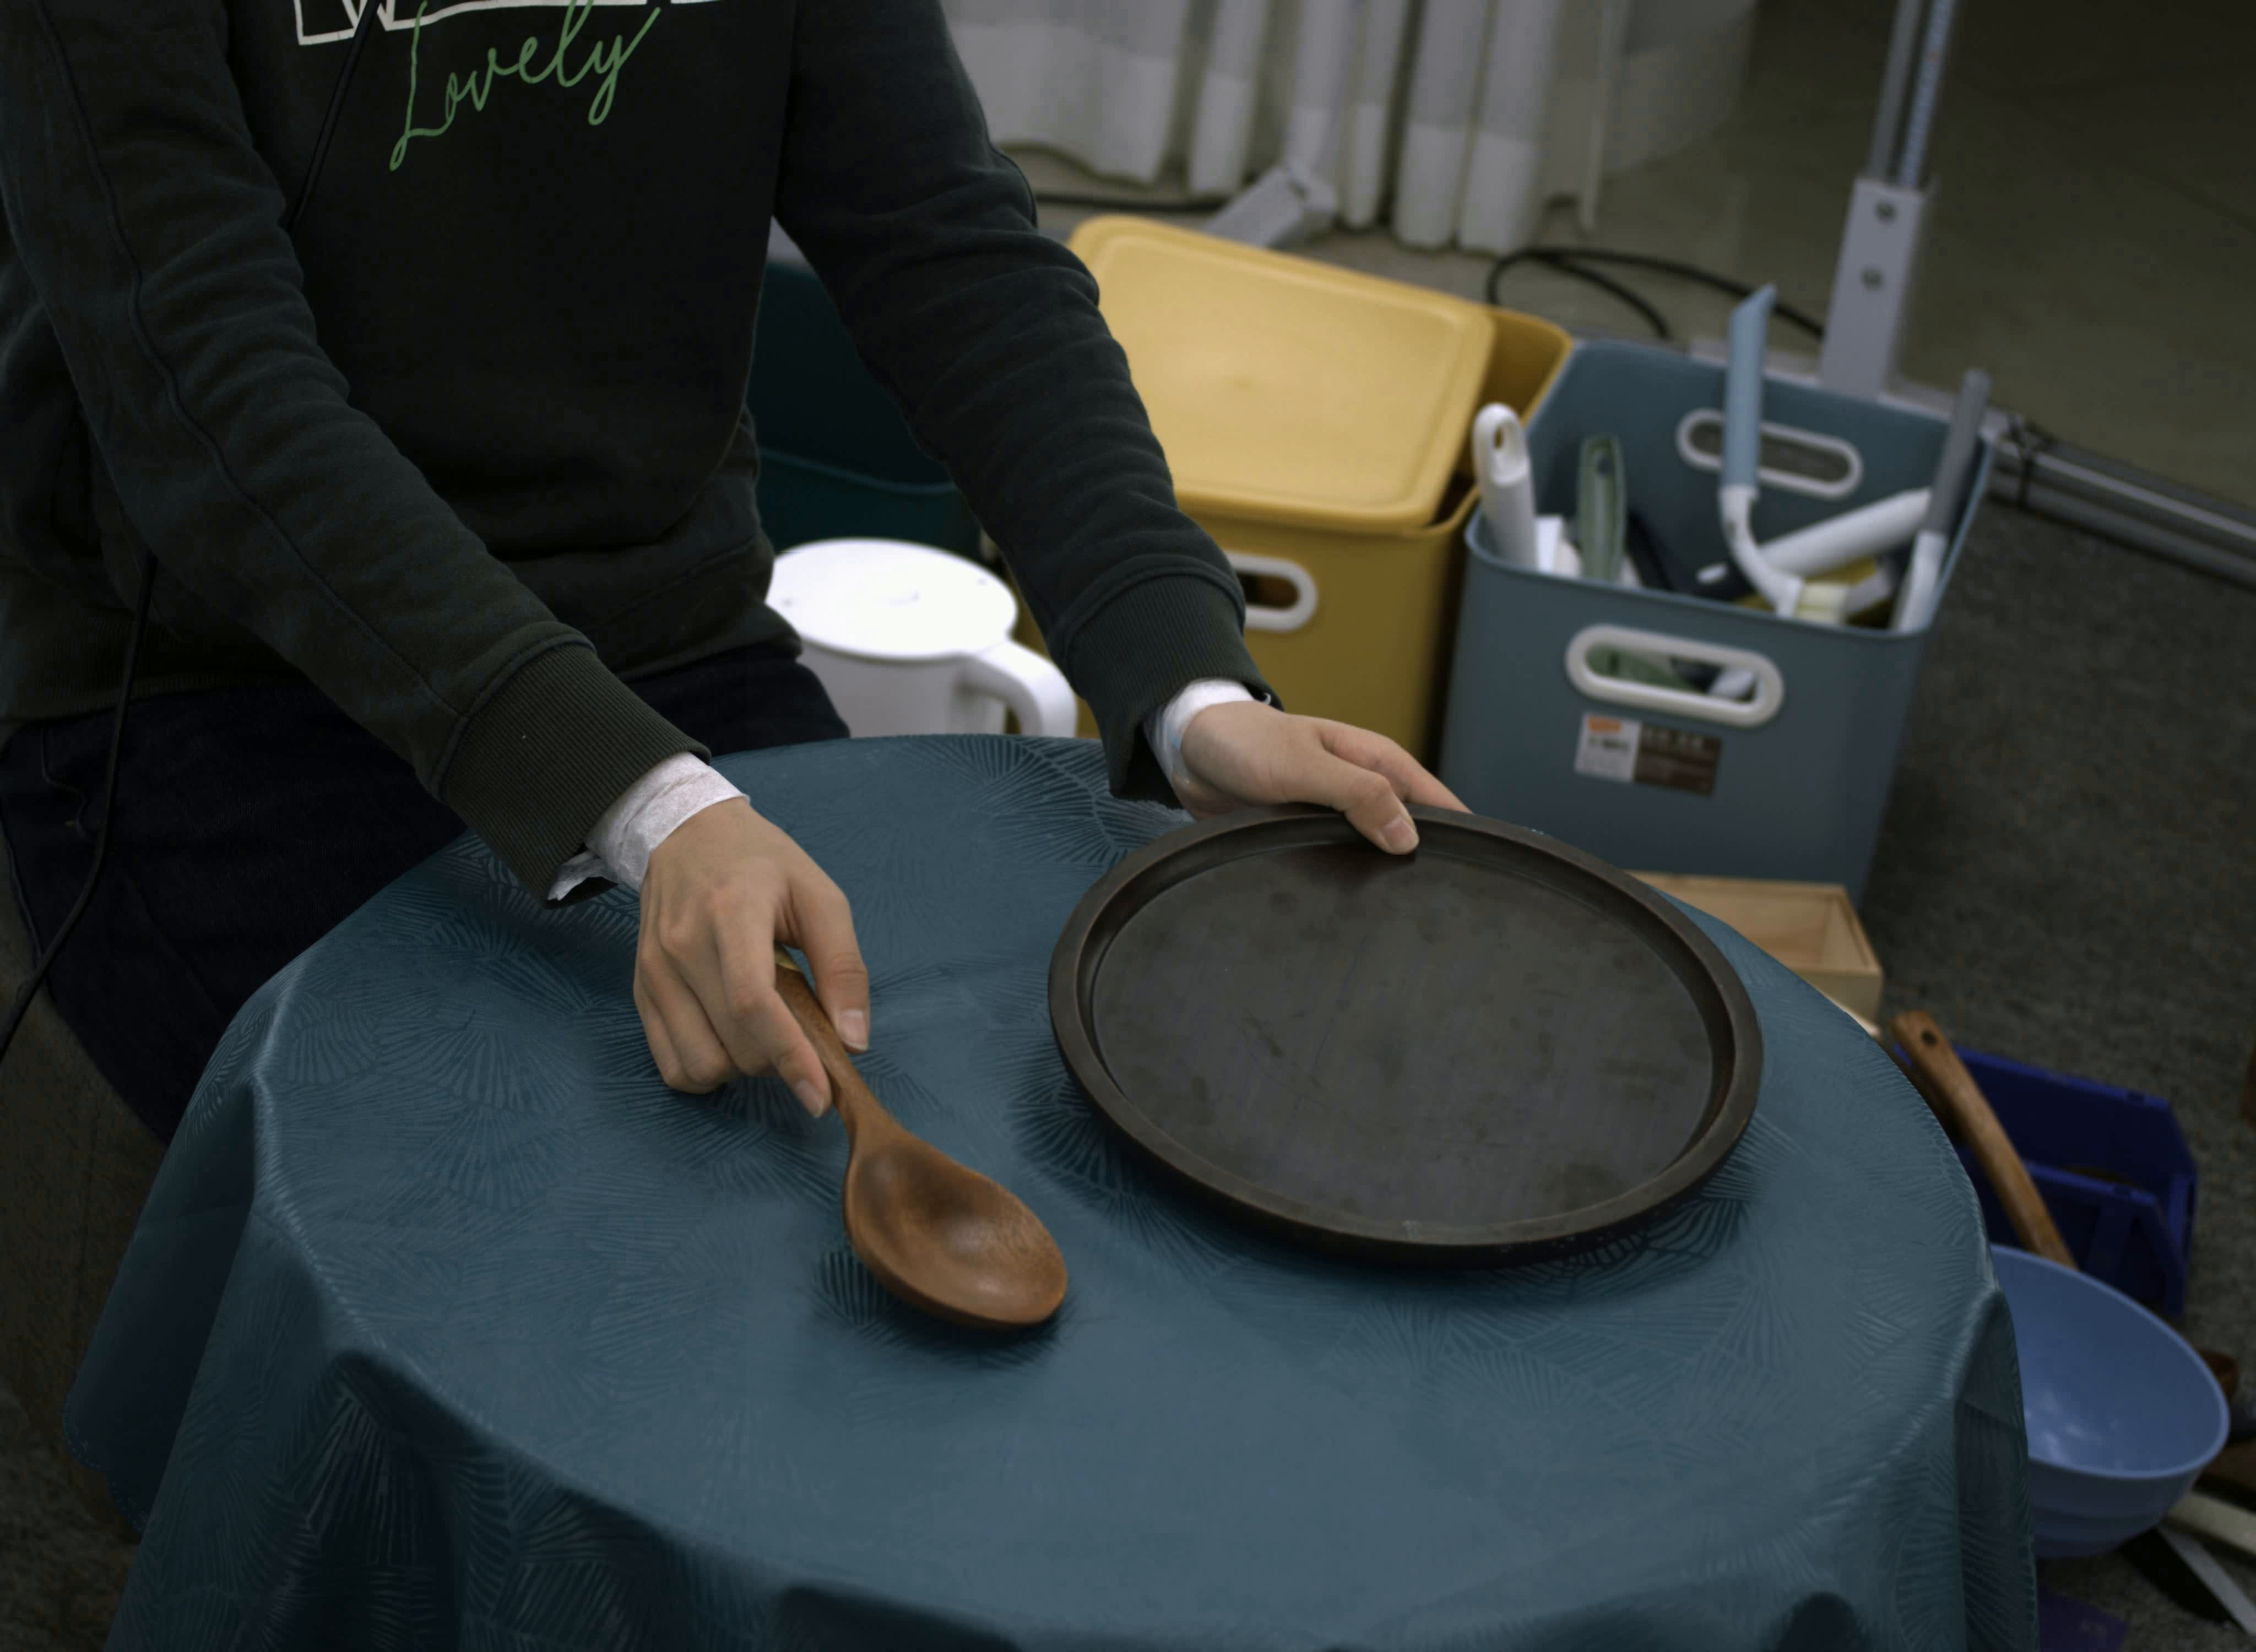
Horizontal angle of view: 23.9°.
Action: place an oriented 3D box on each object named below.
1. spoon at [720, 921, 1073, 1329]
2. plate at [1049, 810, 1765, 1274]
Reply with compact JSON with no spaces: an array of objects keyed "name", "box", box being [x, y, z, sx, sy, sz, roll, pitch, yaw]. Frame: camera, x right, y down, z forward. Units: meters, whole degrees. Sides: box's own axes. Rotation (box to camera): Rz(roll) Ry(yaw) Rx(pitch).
[{"name":"spoon","box":[-0.085,0.101,1.775,0.075,0.017,0.218,2,34,-34]},{"name":"plate","box":[0.097,0.073,1.862,0.254,0.029,0.257,5,36,-4]}]
